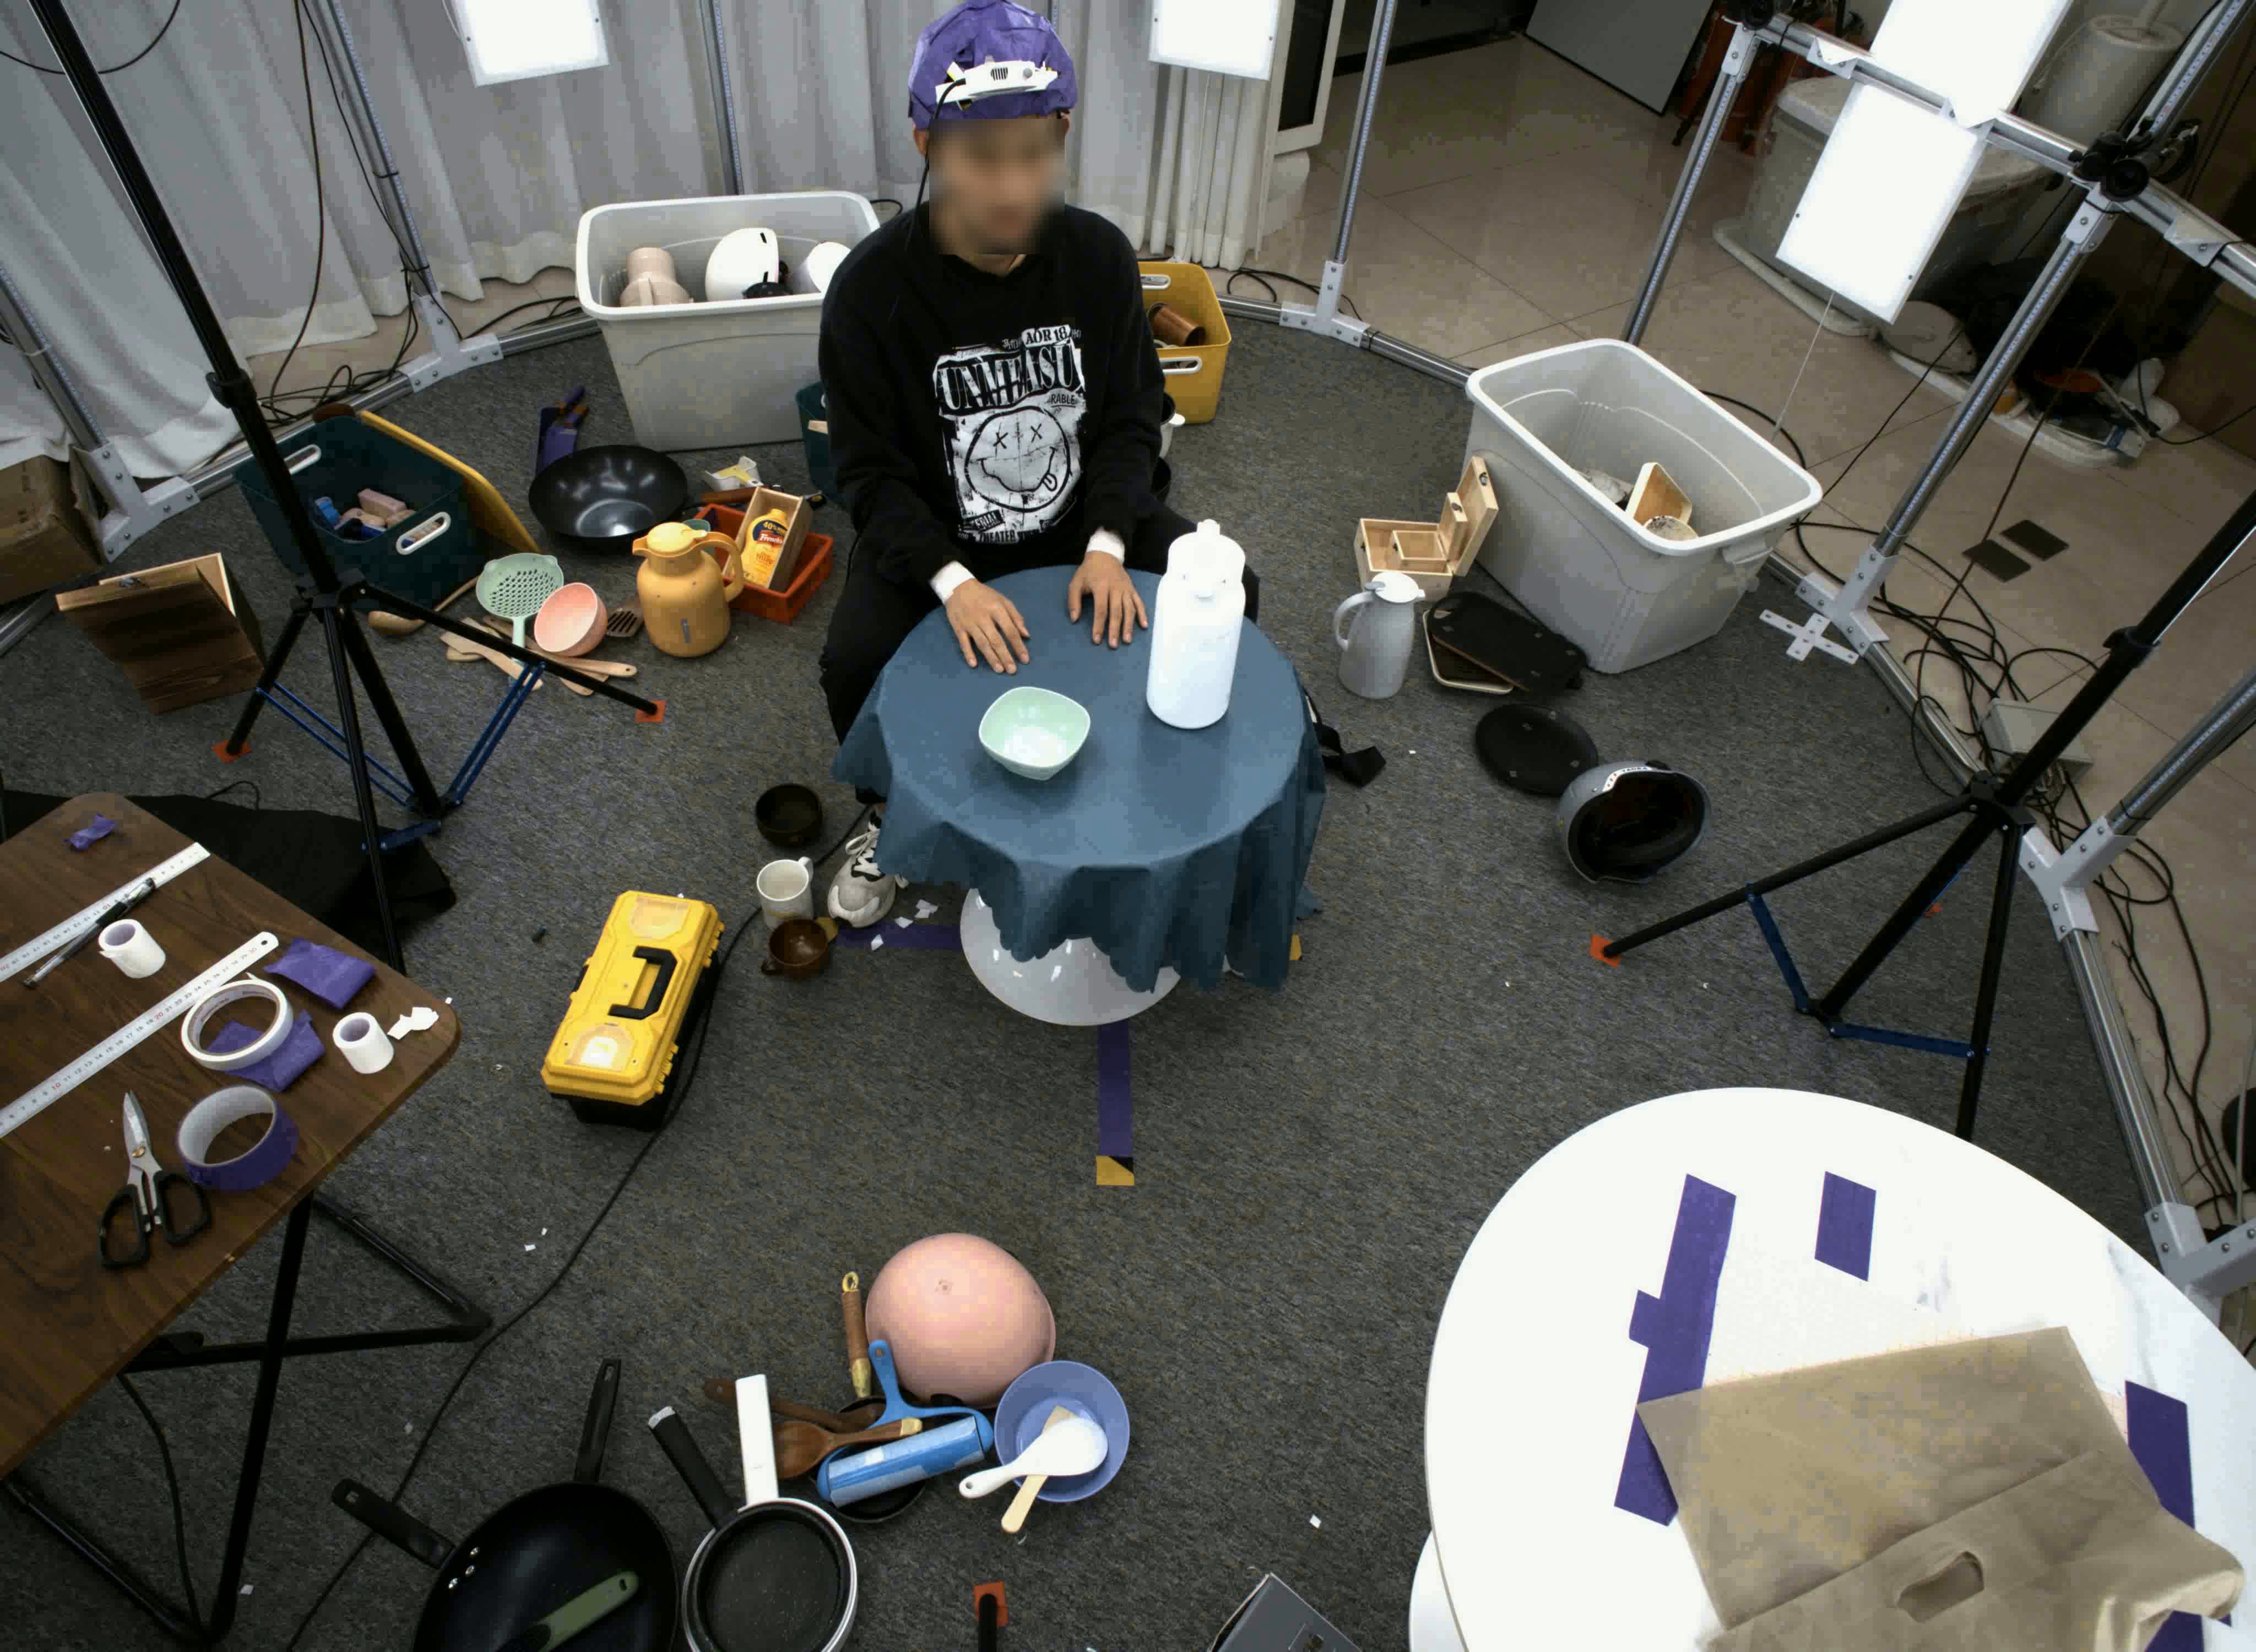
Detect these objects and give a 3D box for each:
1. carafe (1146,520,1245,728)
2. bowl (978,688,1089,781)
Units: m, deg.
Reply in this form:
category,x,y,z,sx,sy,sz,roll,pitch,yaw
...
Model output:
category,x,y,z,sx,sy,sz,roll,pitch,yaw
carafe,0.091,-0.275,1.741,0.124,0.262,0.177,4,49,2
bowl,-0.127,-0.114,1.727,0.151,0.057,0.155,2,49,-2
